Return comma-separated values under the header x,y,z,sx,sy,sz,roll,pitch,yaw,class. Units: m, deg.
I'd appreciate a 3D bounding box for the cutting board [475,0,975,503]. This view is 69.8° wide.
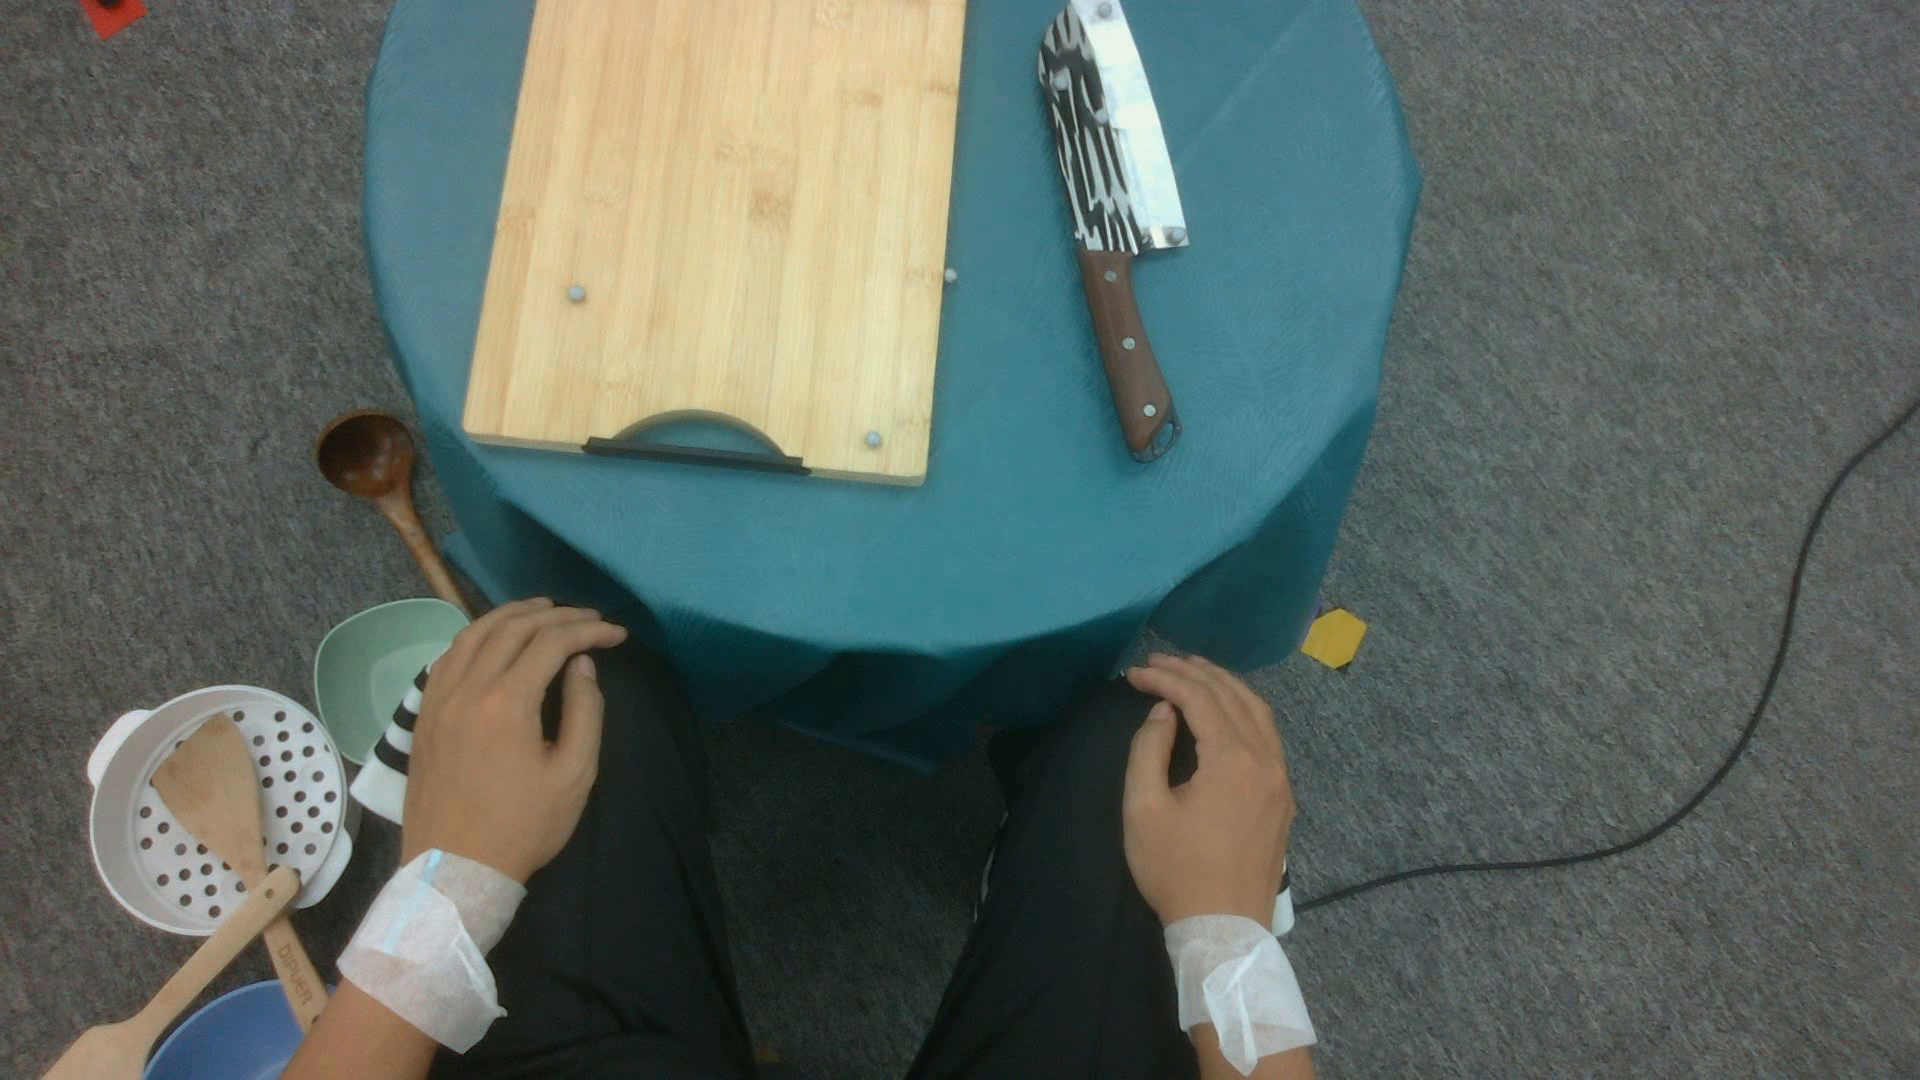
x,y,z,sx,sy,sz,roll,pitch,yaw,class
-0.123,-0.198,0.786,0.251,0.023,0.349,4,75,-4,cutting board

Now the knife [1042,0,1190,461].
x,y,z,sx,sy,sz,roll,pitch,yaw,class
0.097,-0.188,0.801,0.068,0.024,0.300,-7,73,-9,knife
